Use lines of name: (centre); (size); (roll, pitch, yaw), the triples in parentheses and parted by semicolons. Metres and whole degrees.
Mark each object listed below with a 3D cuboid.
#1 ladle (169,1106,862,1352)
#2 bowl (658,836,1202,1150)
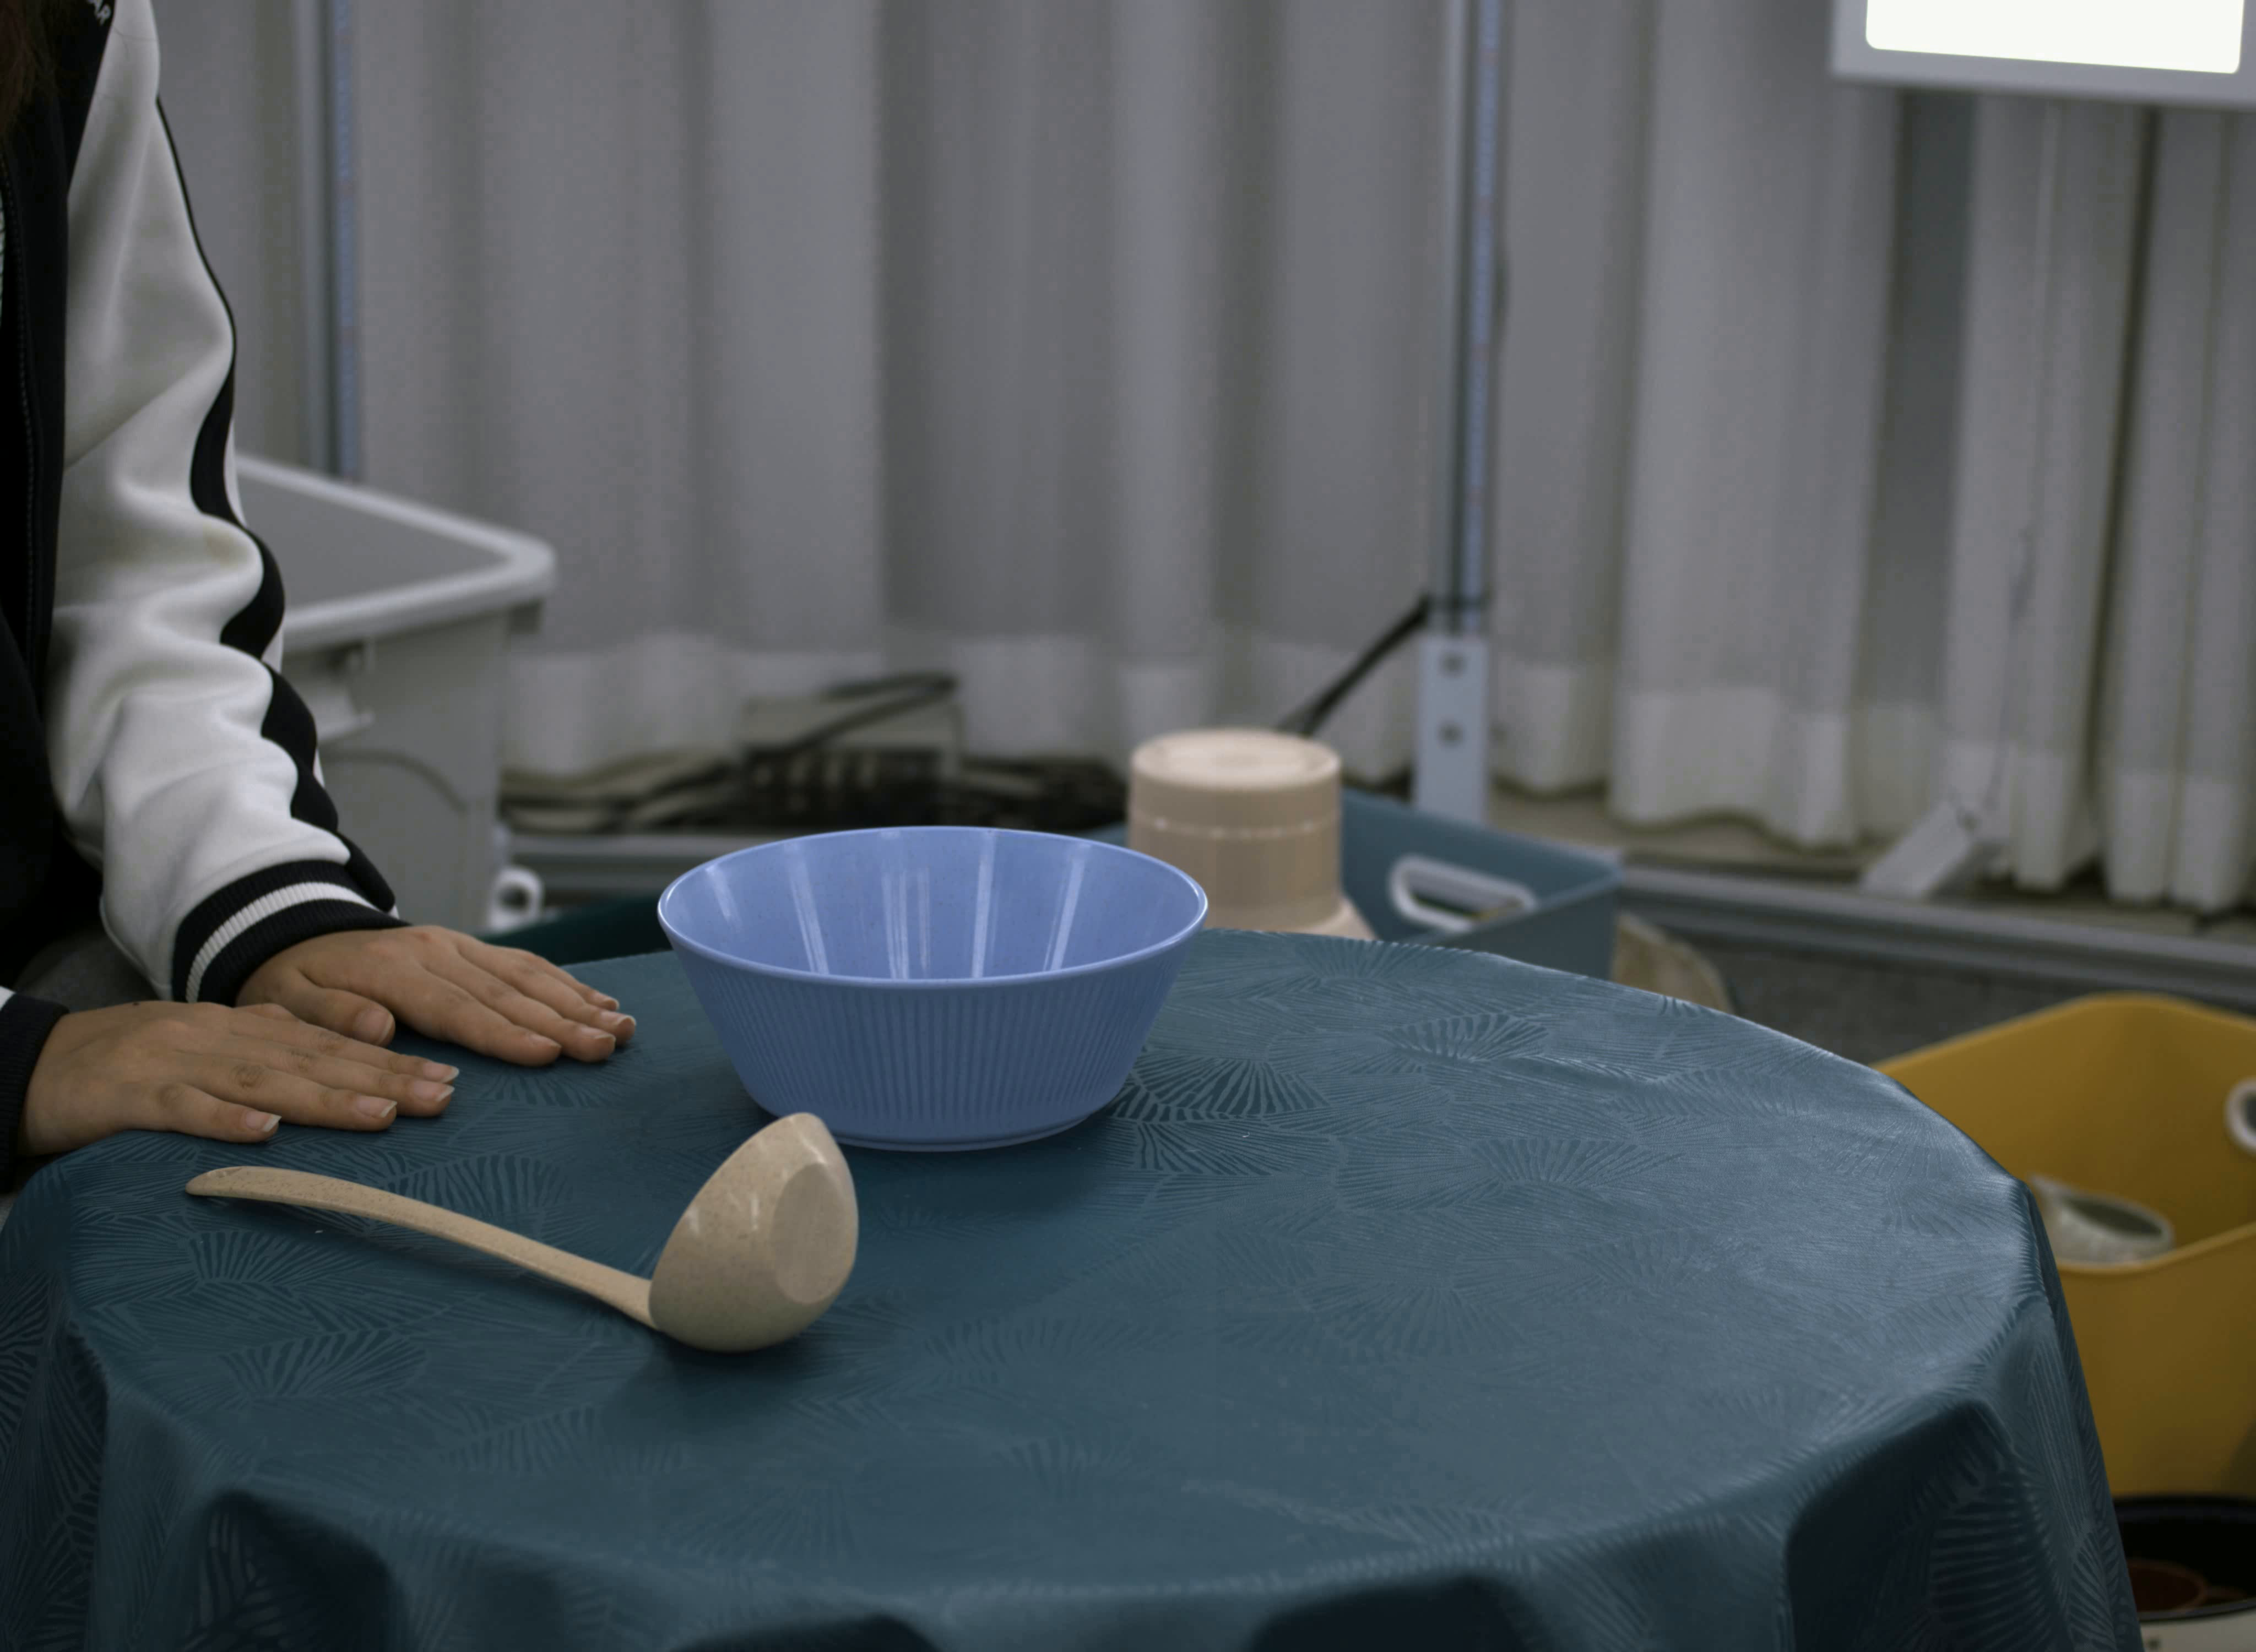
ladle: (-0.189, 0.098, 1.531); (0.251, 0.073, 0.072); (10, 23, 32)
bowl: (-0.064, 0.056, 1.693); (0.175, 0.071, 0.175); (1, 15, 0)
